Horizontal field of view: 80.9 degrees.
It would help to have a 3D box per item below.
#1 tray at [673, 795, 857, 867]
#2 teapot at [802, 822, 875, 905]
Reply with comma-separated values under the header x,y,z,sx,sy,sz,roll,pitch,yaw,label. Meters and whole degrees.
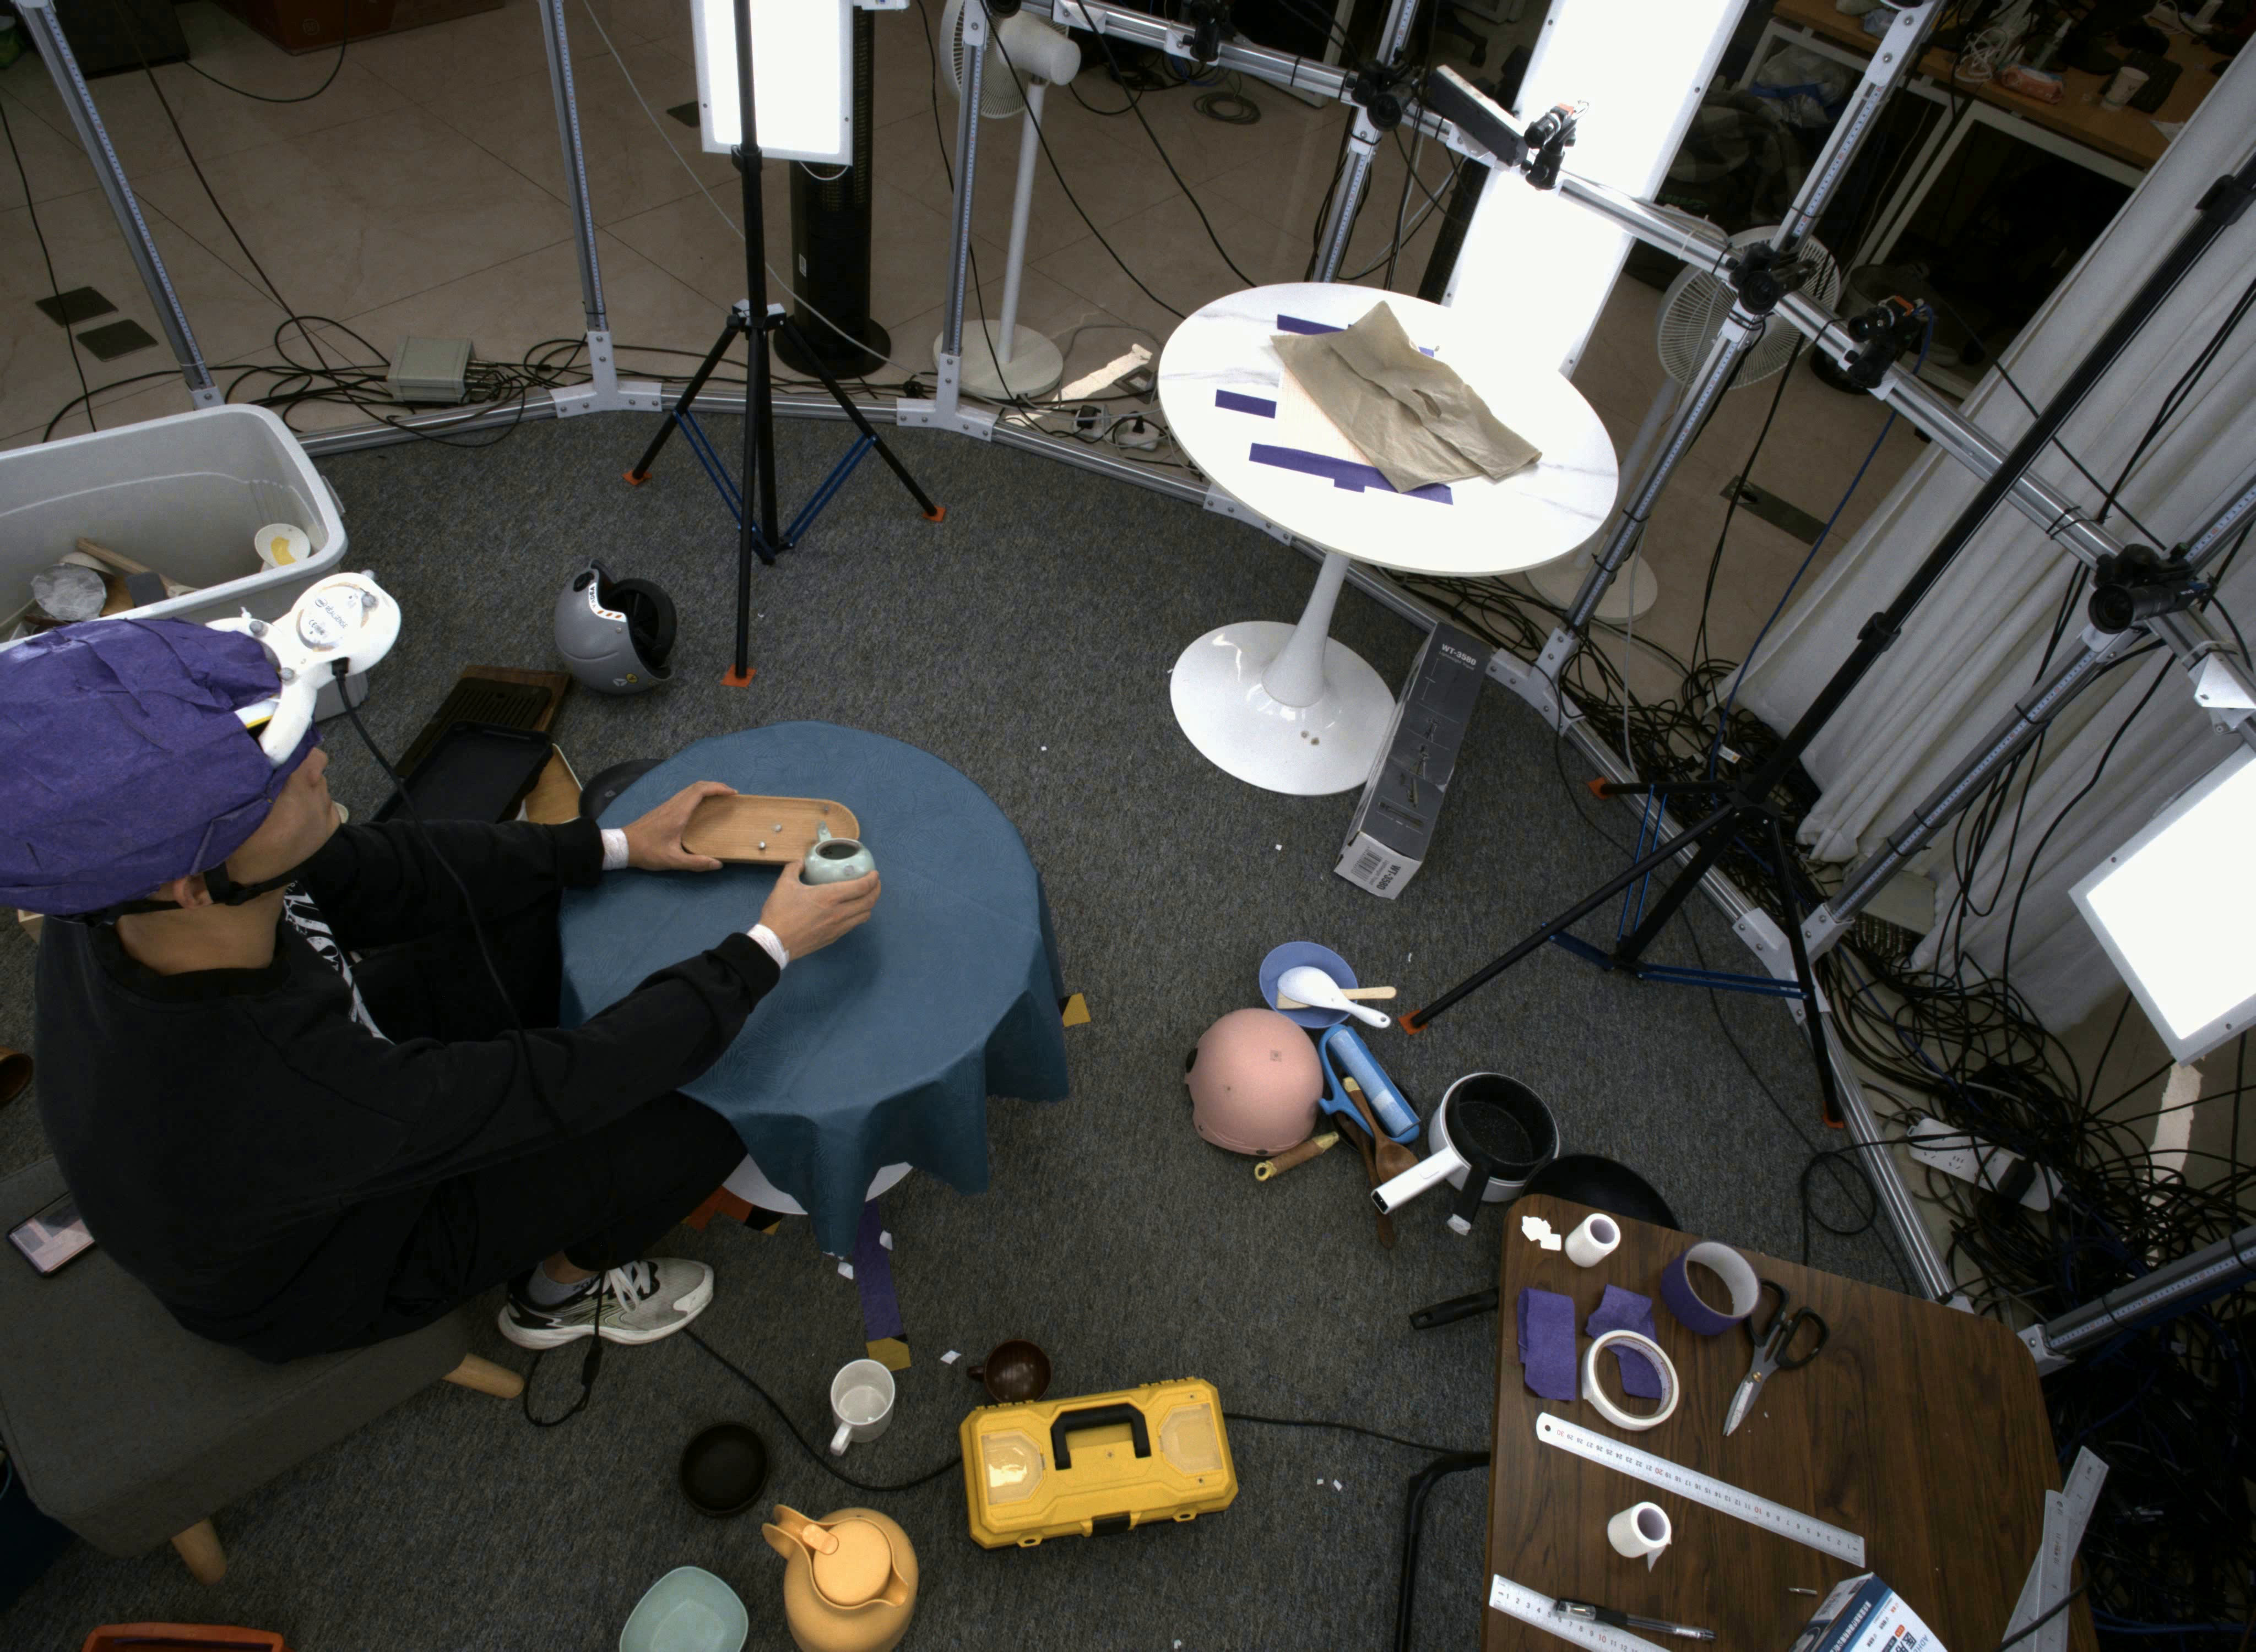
x,y,z,sx,sy,sz,roll,pitch,yaw,label
-0.466,0.006,1.667,0.231,0.021,0.099,2,55,-14,tray
-0.351,0.052,1.575,0.089,0.077,0.138,-13,30,-28,teapot
